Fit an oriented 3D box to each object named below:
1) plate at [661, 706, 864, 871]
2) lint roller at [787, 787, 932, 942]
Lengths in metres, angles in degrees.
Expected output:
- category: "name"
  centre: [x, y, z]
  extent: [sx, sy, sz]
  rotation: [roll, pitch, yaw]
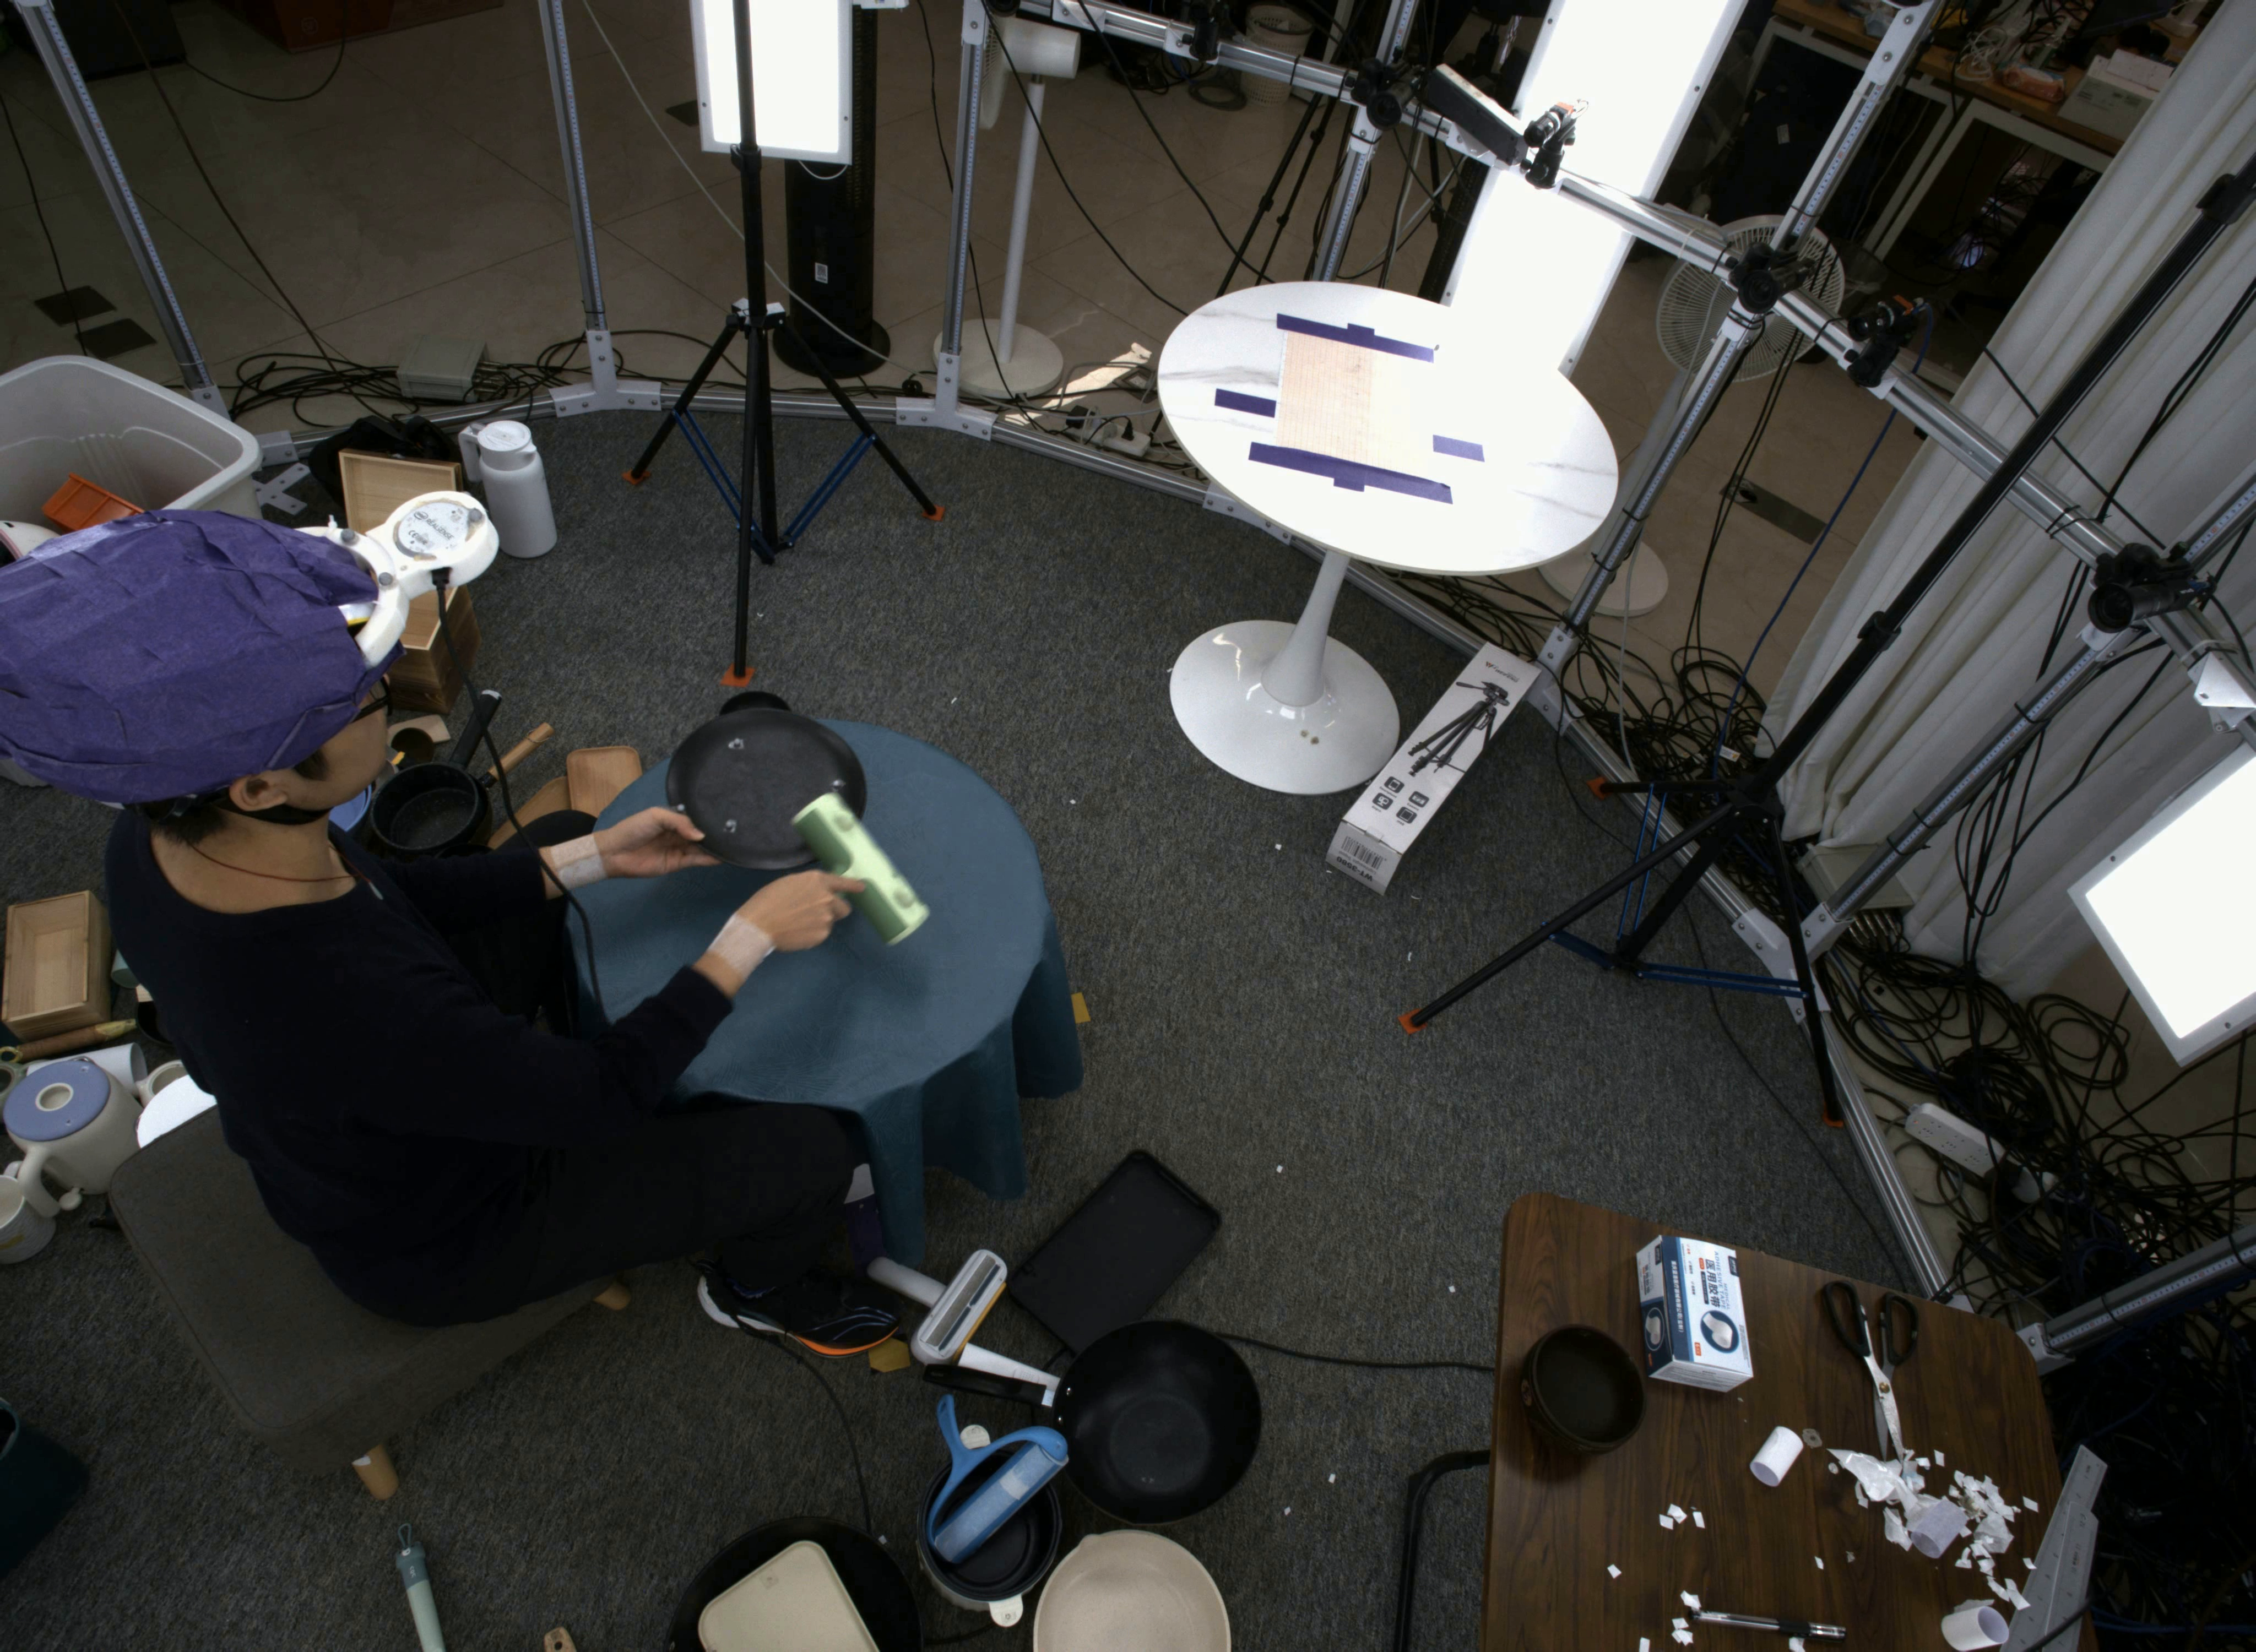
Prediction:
- category: "plate"
  centre: [-0.447, -0.045, 1.587]
  extent: [0.245, 0.024, 0.240]
  rotation: [11, 55, -14]
- category: "lint roller"
  centre: [-0.324, 0.058, 1.500]
  extent: [0.201, 0.081, 0.182]
  rotation: [52, 25, -7]
